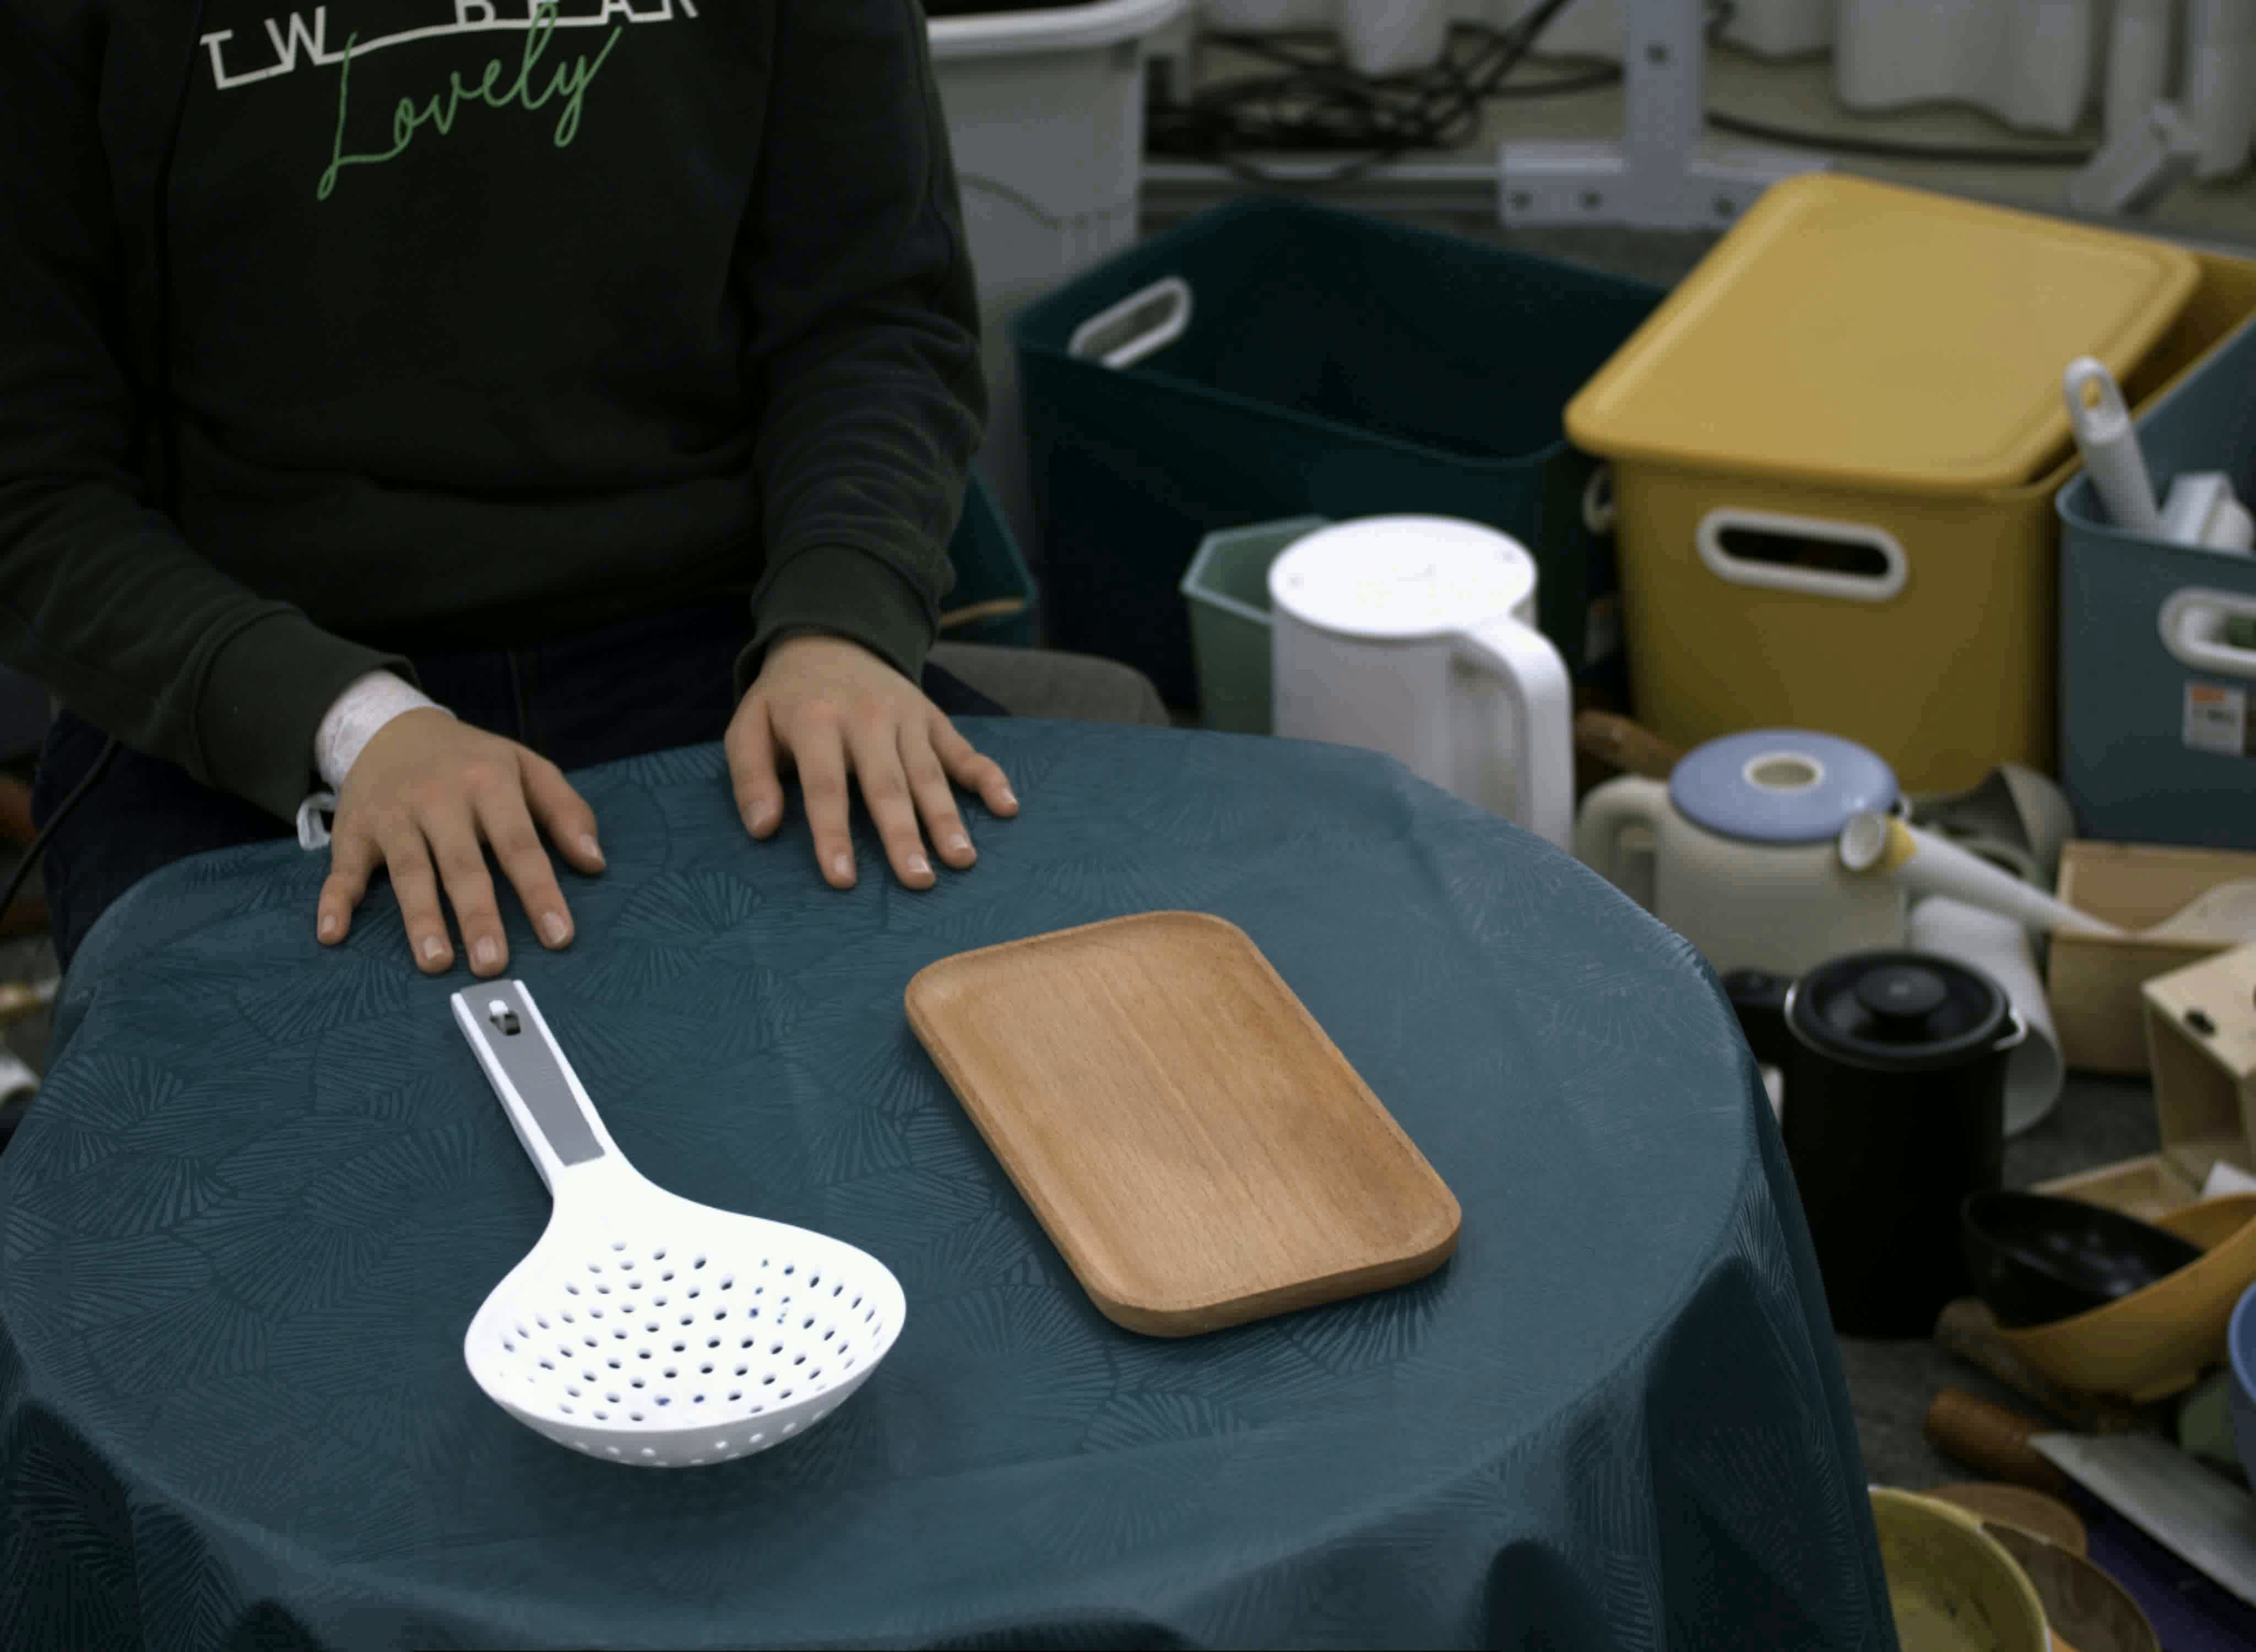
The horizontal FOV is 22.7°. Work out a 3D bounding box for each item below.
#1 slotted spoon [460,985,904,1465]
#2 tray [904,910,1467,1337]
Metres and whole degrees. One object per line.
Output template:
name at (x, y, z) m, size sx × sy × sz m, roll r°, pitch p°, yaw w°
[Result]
slotted spoon at (-0.170, 0.123, 1.826) m, size 0.136 × 0.045 × 0.353 m, roll -9°, pitch 27°, yaw -16°
tray at (0.016, 0.097, 1.889) m, size 0.131 × 0.022 × 0.253 m, roll -10°, pitch 27°, yaw -17°
